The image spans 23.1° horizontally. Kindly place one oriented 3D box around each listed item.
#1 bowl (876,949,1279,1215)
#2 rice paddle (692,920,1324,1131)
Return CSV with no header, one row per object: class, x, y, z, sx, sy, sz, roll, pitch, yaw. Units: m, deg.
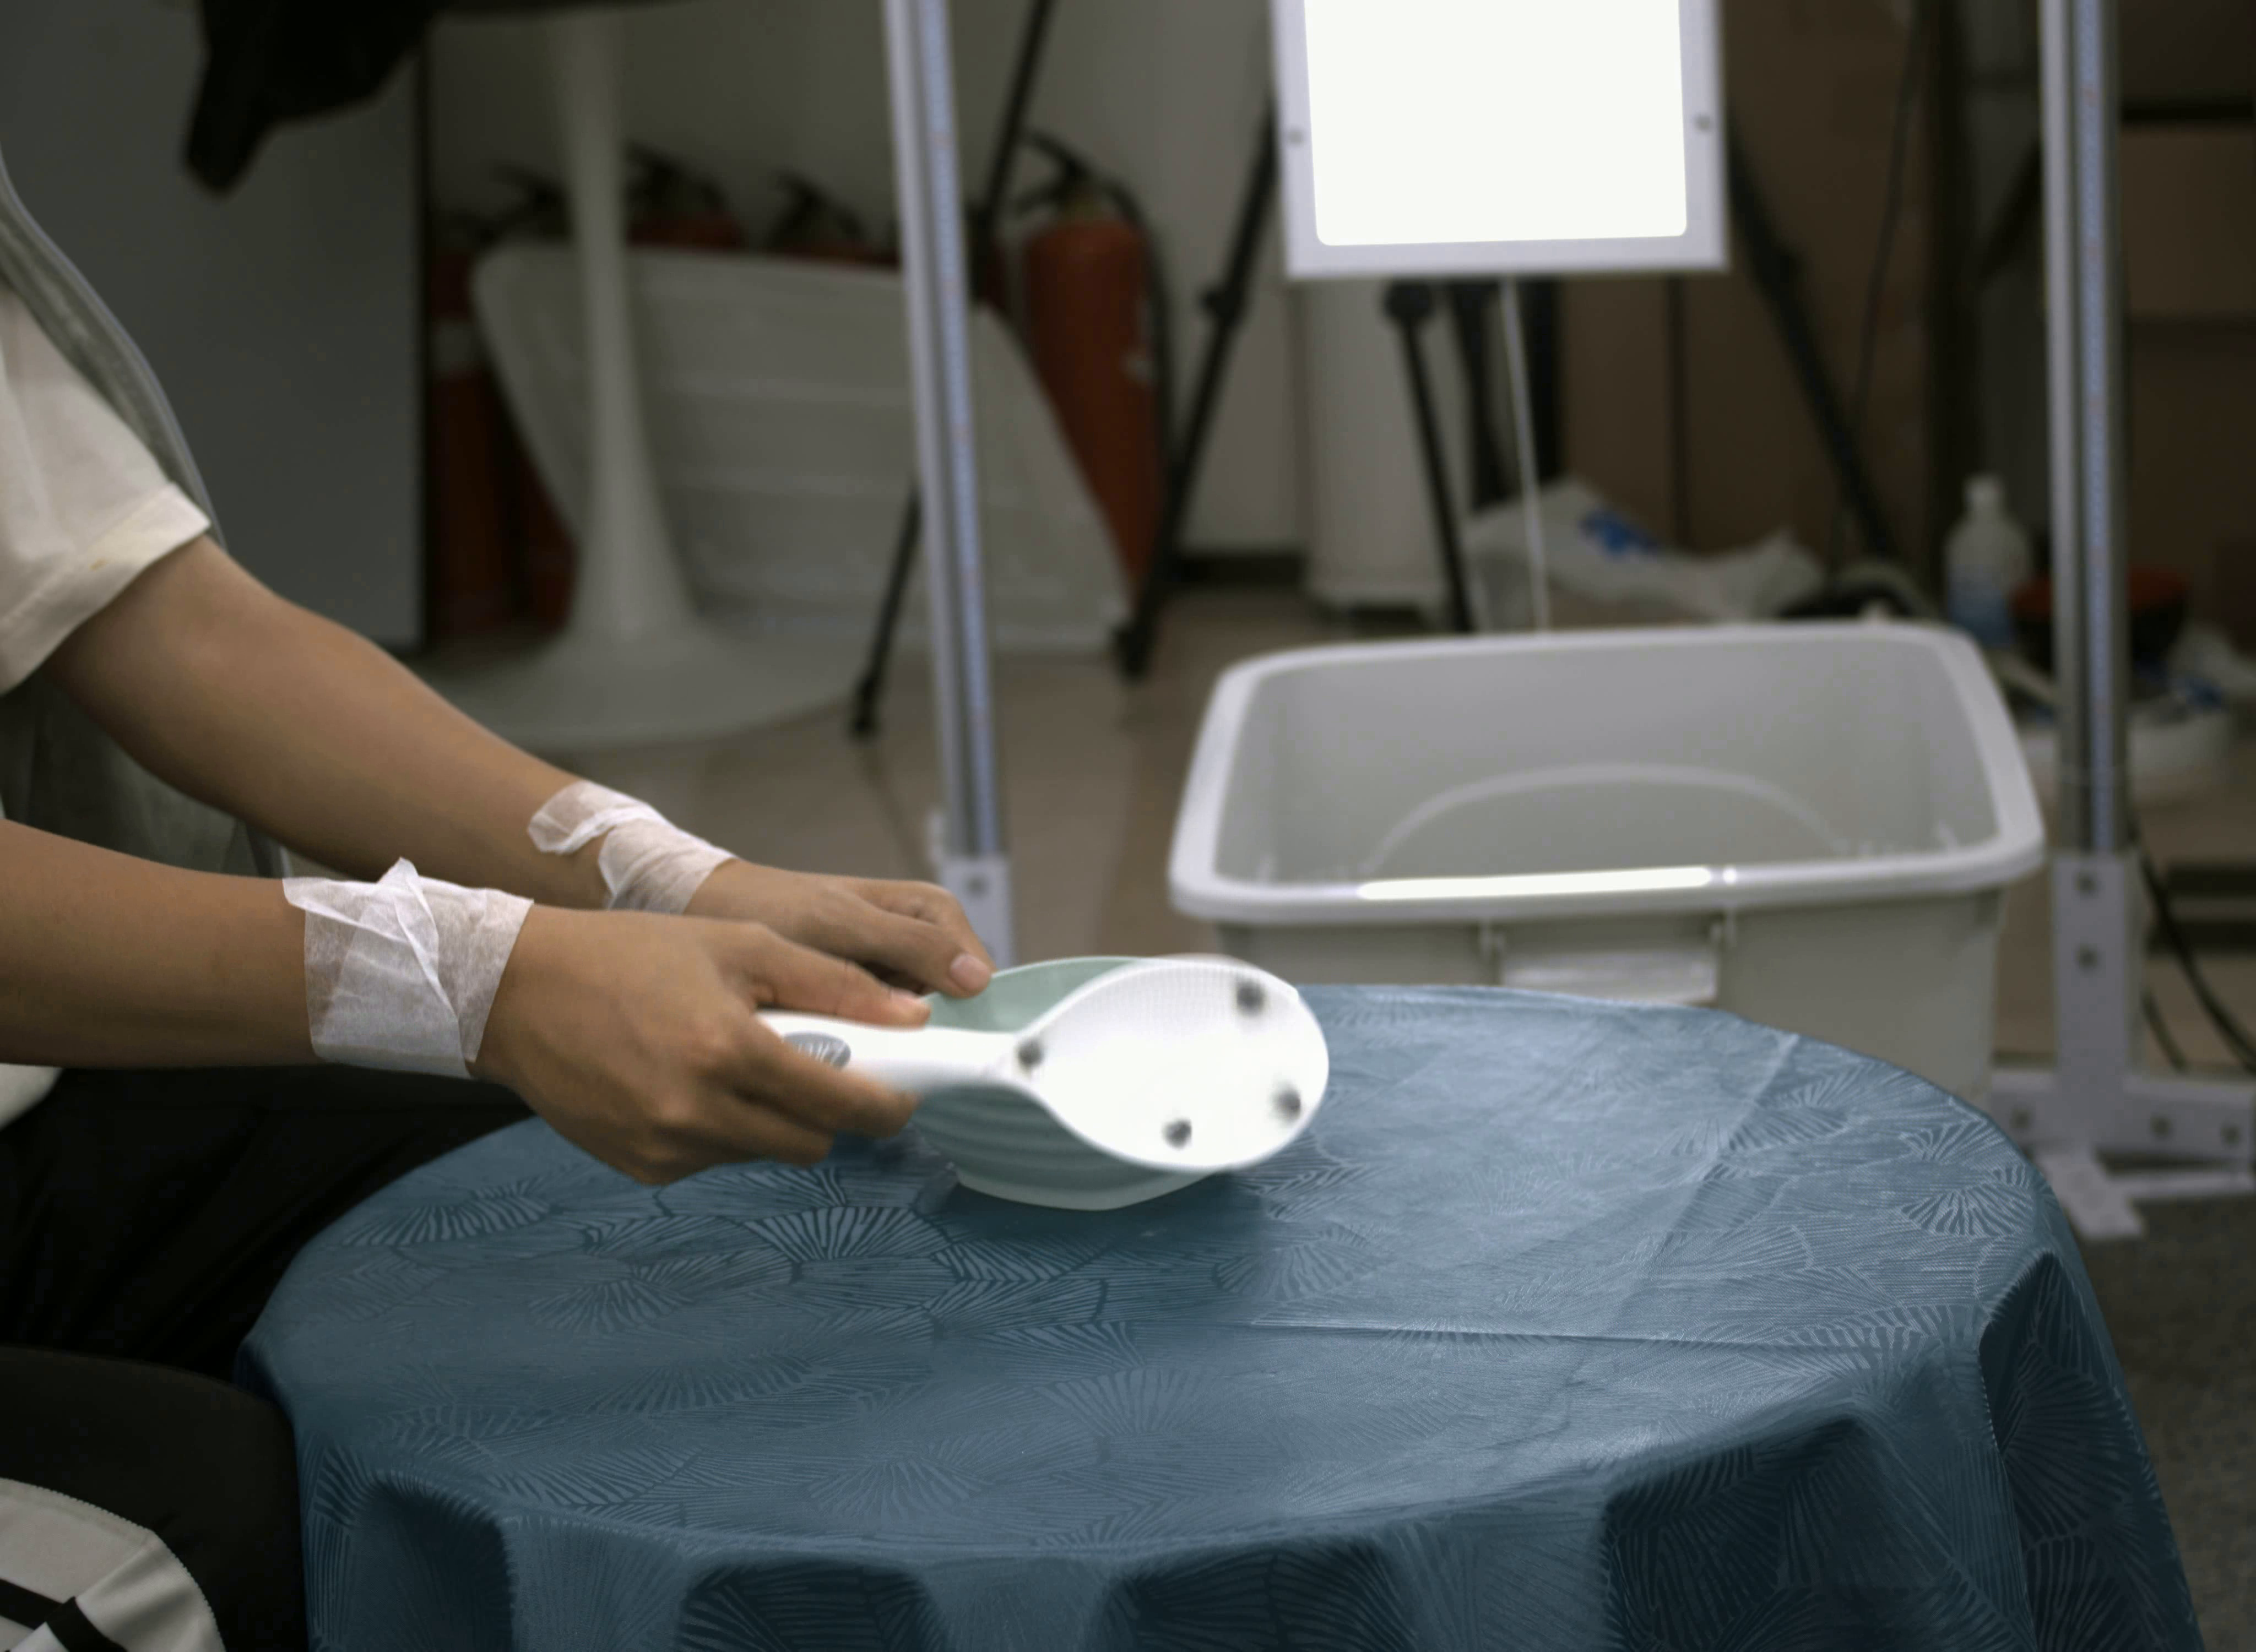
bowl,-0.014,0.092,1.920,0.151,0.059,0.151,-3,16,-1
rice paddle,-0.038,0.066,1.773,0.204,0.069,0.029,-2,-9,-1
